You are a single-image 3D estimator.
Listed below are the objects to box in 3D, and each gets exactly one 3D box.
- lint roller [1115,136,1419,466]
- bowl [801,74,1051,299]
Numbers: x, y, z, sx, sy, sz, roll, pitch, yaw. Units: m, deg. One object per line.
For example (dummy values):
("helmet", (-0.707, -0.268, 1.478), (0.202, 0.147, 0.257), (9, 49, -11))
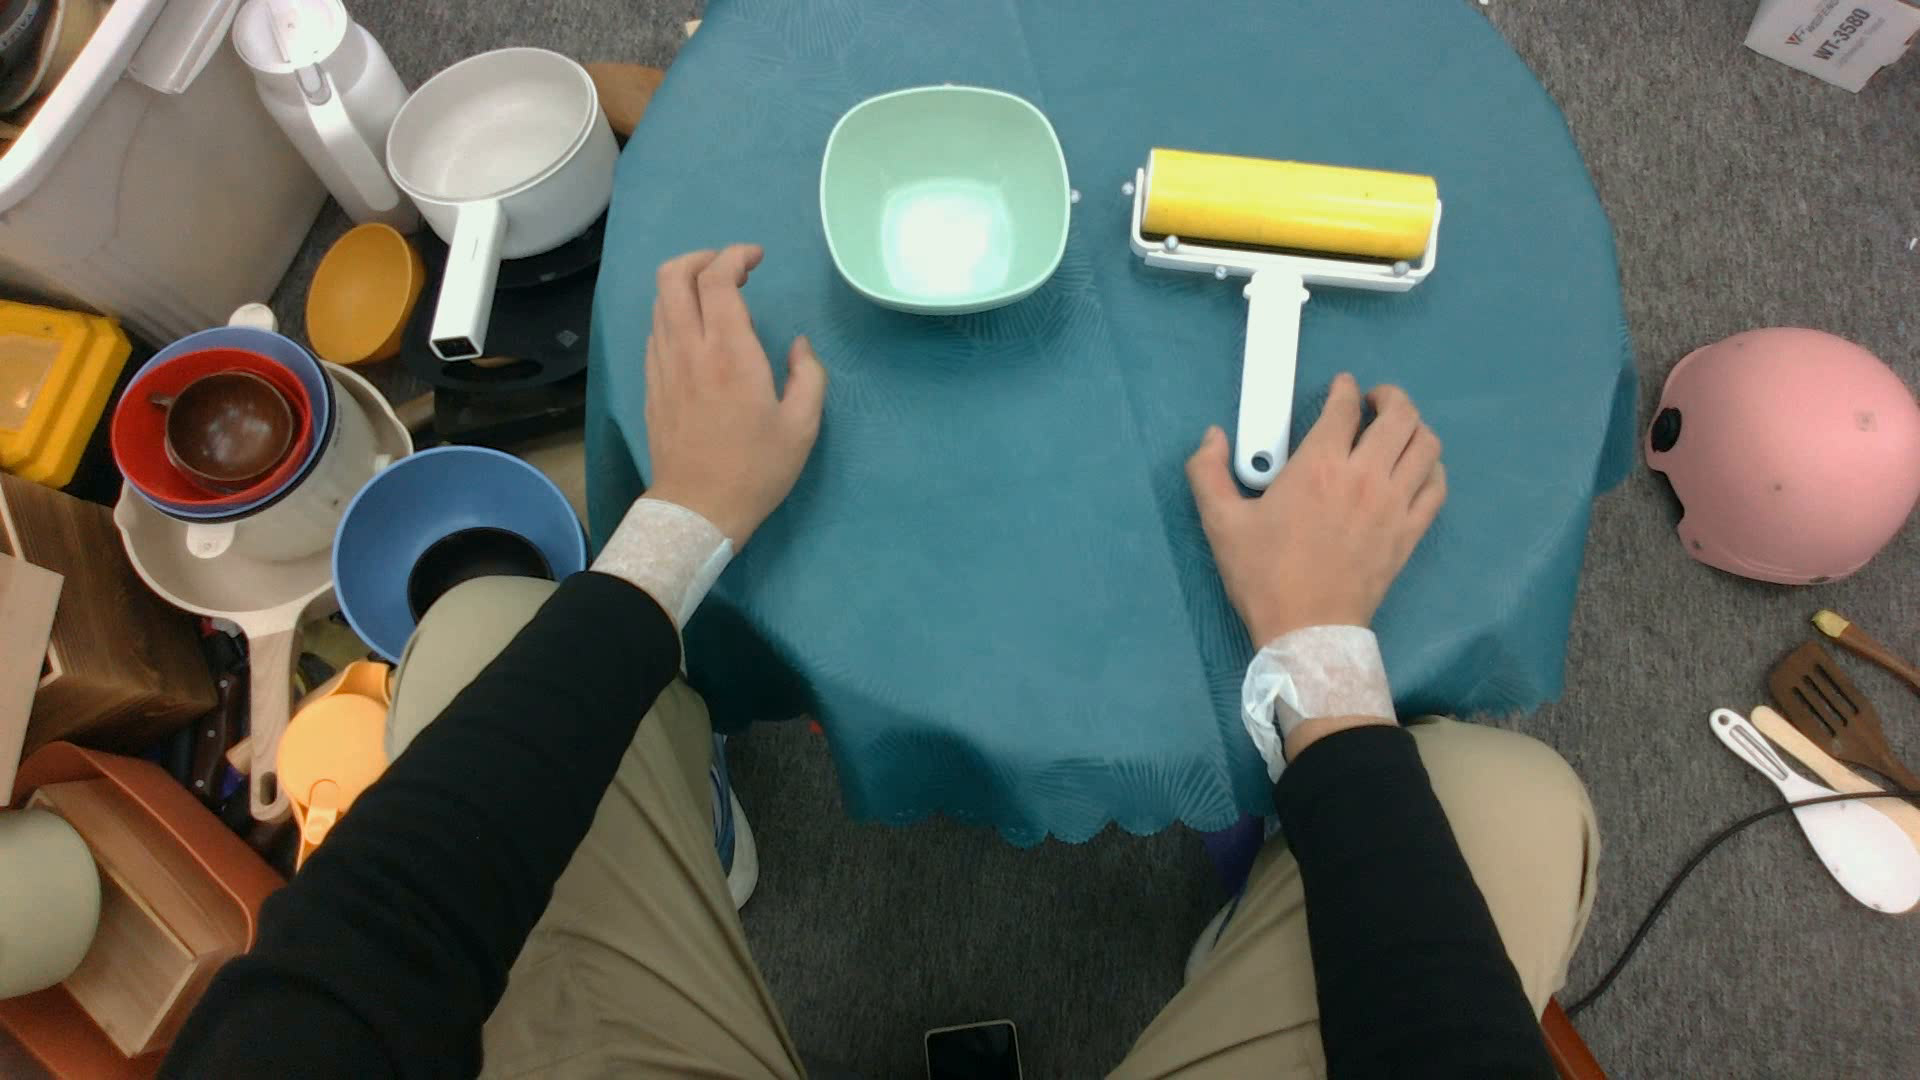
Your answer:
("lint roller", (0.172, -0.138, 0.778), (0.174, 0.051, 0.192), (5, 68, 0))
("bowl", (-0.020, -0.191, 0.787), (0.151, 0.058, 0.152), (1, 70, -2))
